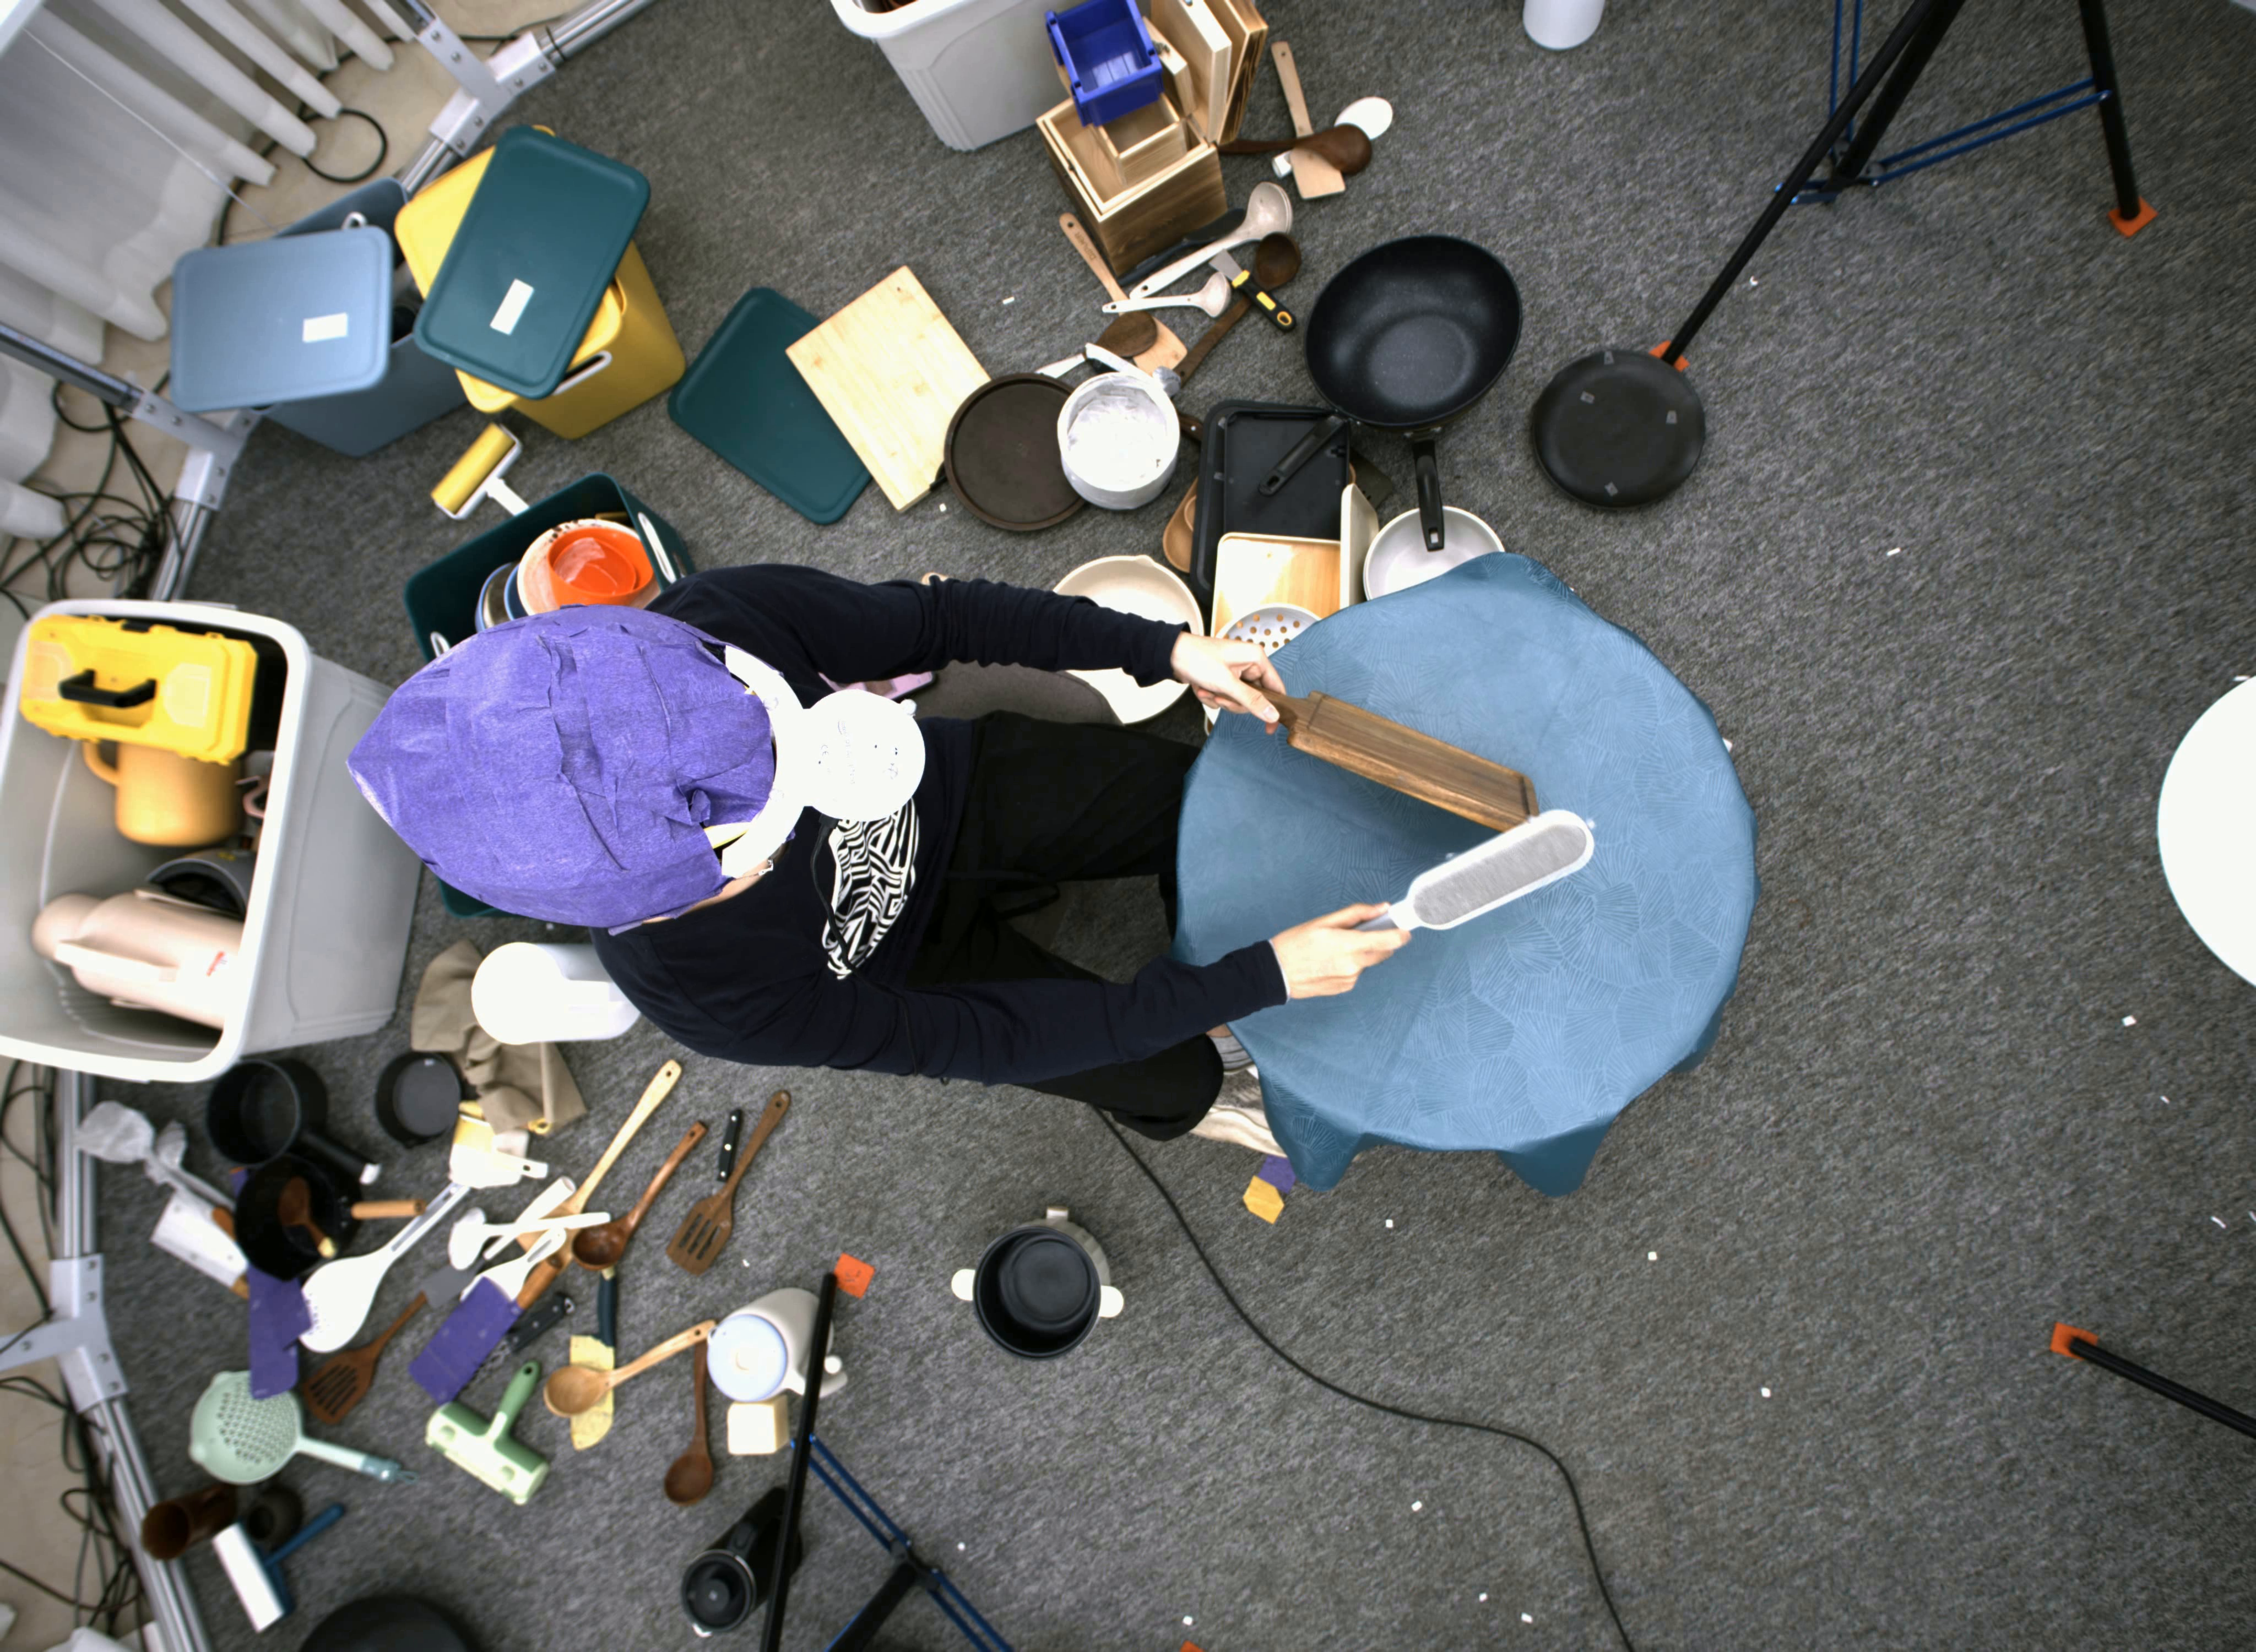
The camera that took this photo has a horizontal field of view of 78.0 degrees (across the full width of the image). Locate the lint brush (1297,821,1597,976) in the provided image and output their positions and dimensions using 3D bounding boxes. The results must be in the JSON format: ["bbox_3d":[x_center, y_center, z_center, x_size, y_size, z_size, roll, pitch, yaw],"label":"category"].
[{"bbox_3d":[0.294,0.072,1.298,0.313,0.020,0.061,-28,112,24],"label":"lint brush"}]

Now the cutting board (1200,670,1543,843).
[{"bbox_3d":[0.239,-0.083,1.365,0.352,0.197,0.023,22,111,6],"label":"cutting board"}]
